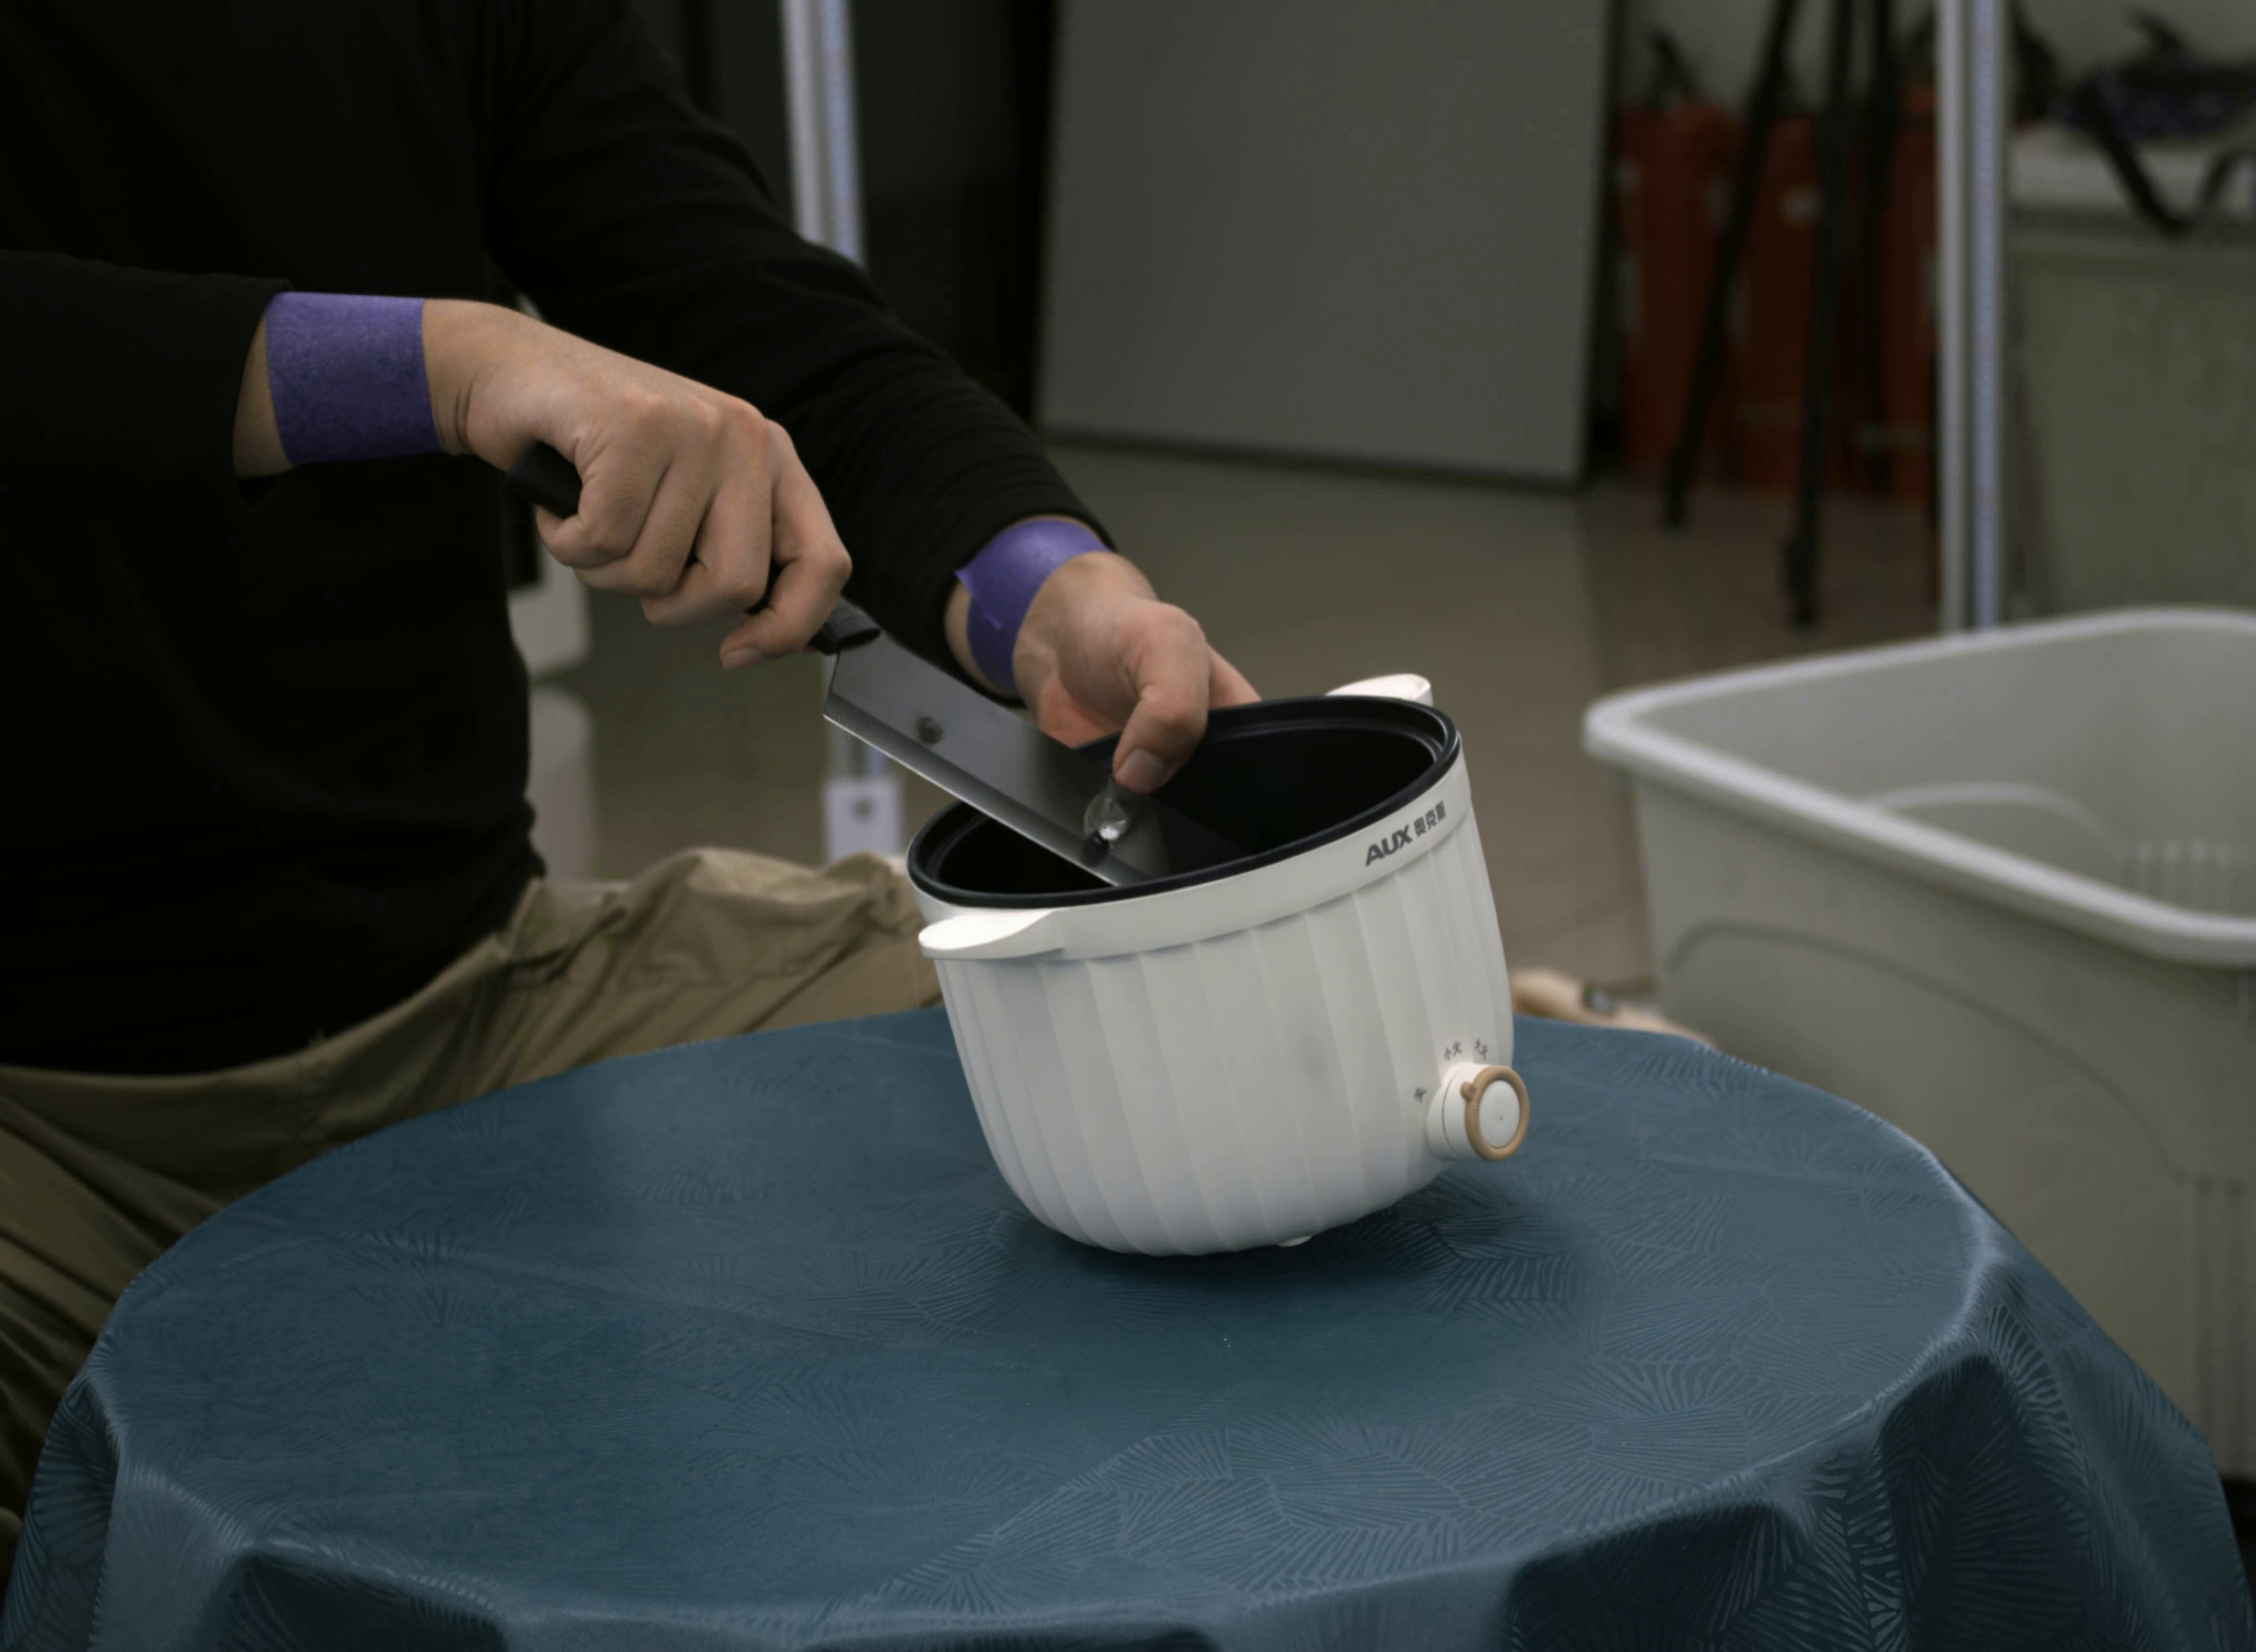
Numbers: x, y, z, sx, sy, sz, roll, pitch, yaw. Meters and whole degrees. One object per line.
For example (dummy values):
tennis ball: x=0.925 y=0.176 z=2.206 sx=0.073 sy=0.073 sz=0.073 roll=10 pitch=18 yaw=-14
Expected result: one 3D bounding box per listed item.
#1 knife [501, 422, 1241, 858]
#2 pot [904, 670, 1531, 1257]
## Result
knife: x=-0.068 y=-0.044 z=1.737 sx=0.299 sy=0.021 sz=0.081 roll=32 pitch=27 yaw=-6
pot: x=0.036 y=0.050 z=1.719 sx=0.192 sy=0.143 sz=0.236 roll=-4 pitch=19 yaw=43
